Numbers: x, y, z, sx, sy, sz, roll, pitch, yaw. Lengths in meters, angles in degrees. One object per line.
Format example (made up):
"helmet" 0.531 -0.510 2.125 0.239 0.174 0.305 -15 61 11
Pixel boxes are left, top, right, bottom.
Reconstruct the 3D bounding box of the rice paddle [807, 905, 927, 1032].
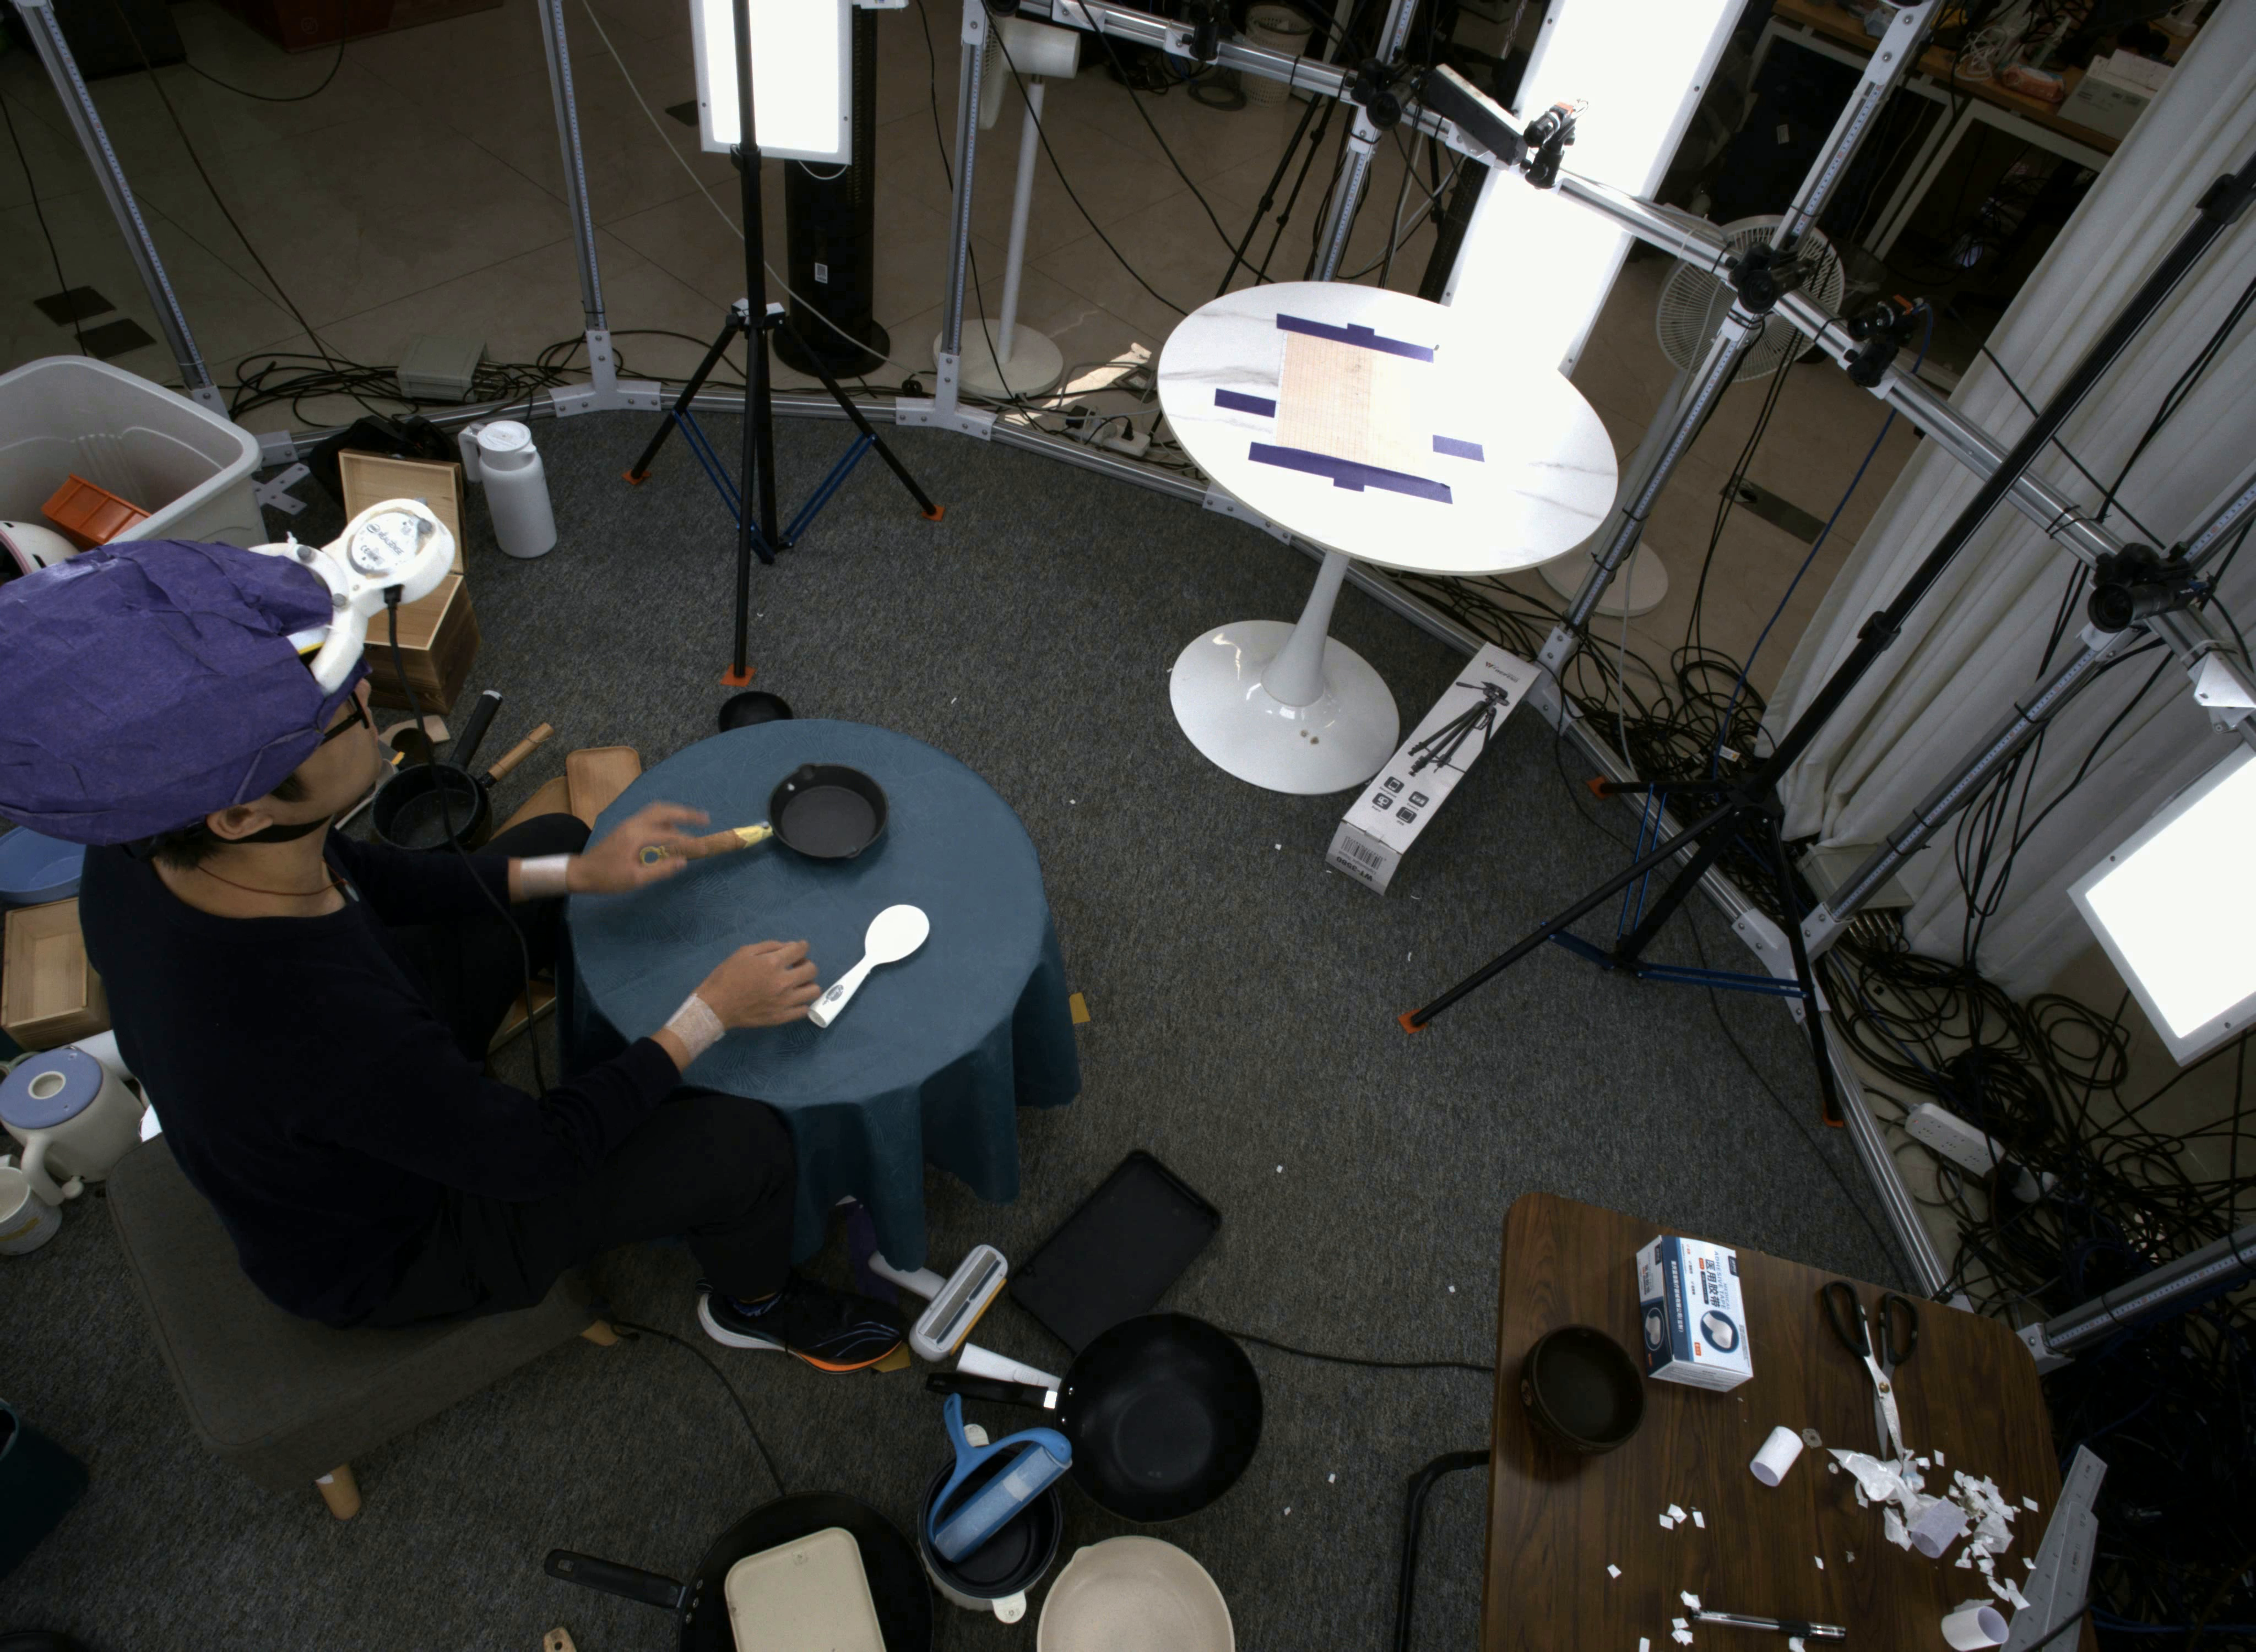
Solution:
"rice paddle" -0.320 0.167 1.598 0.068 0.030 0.204 32 53 8

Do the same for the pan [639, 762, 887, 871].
"pan" -0.468 0.004 1.666 0.326 0.050 0.165 -17 60 -27
